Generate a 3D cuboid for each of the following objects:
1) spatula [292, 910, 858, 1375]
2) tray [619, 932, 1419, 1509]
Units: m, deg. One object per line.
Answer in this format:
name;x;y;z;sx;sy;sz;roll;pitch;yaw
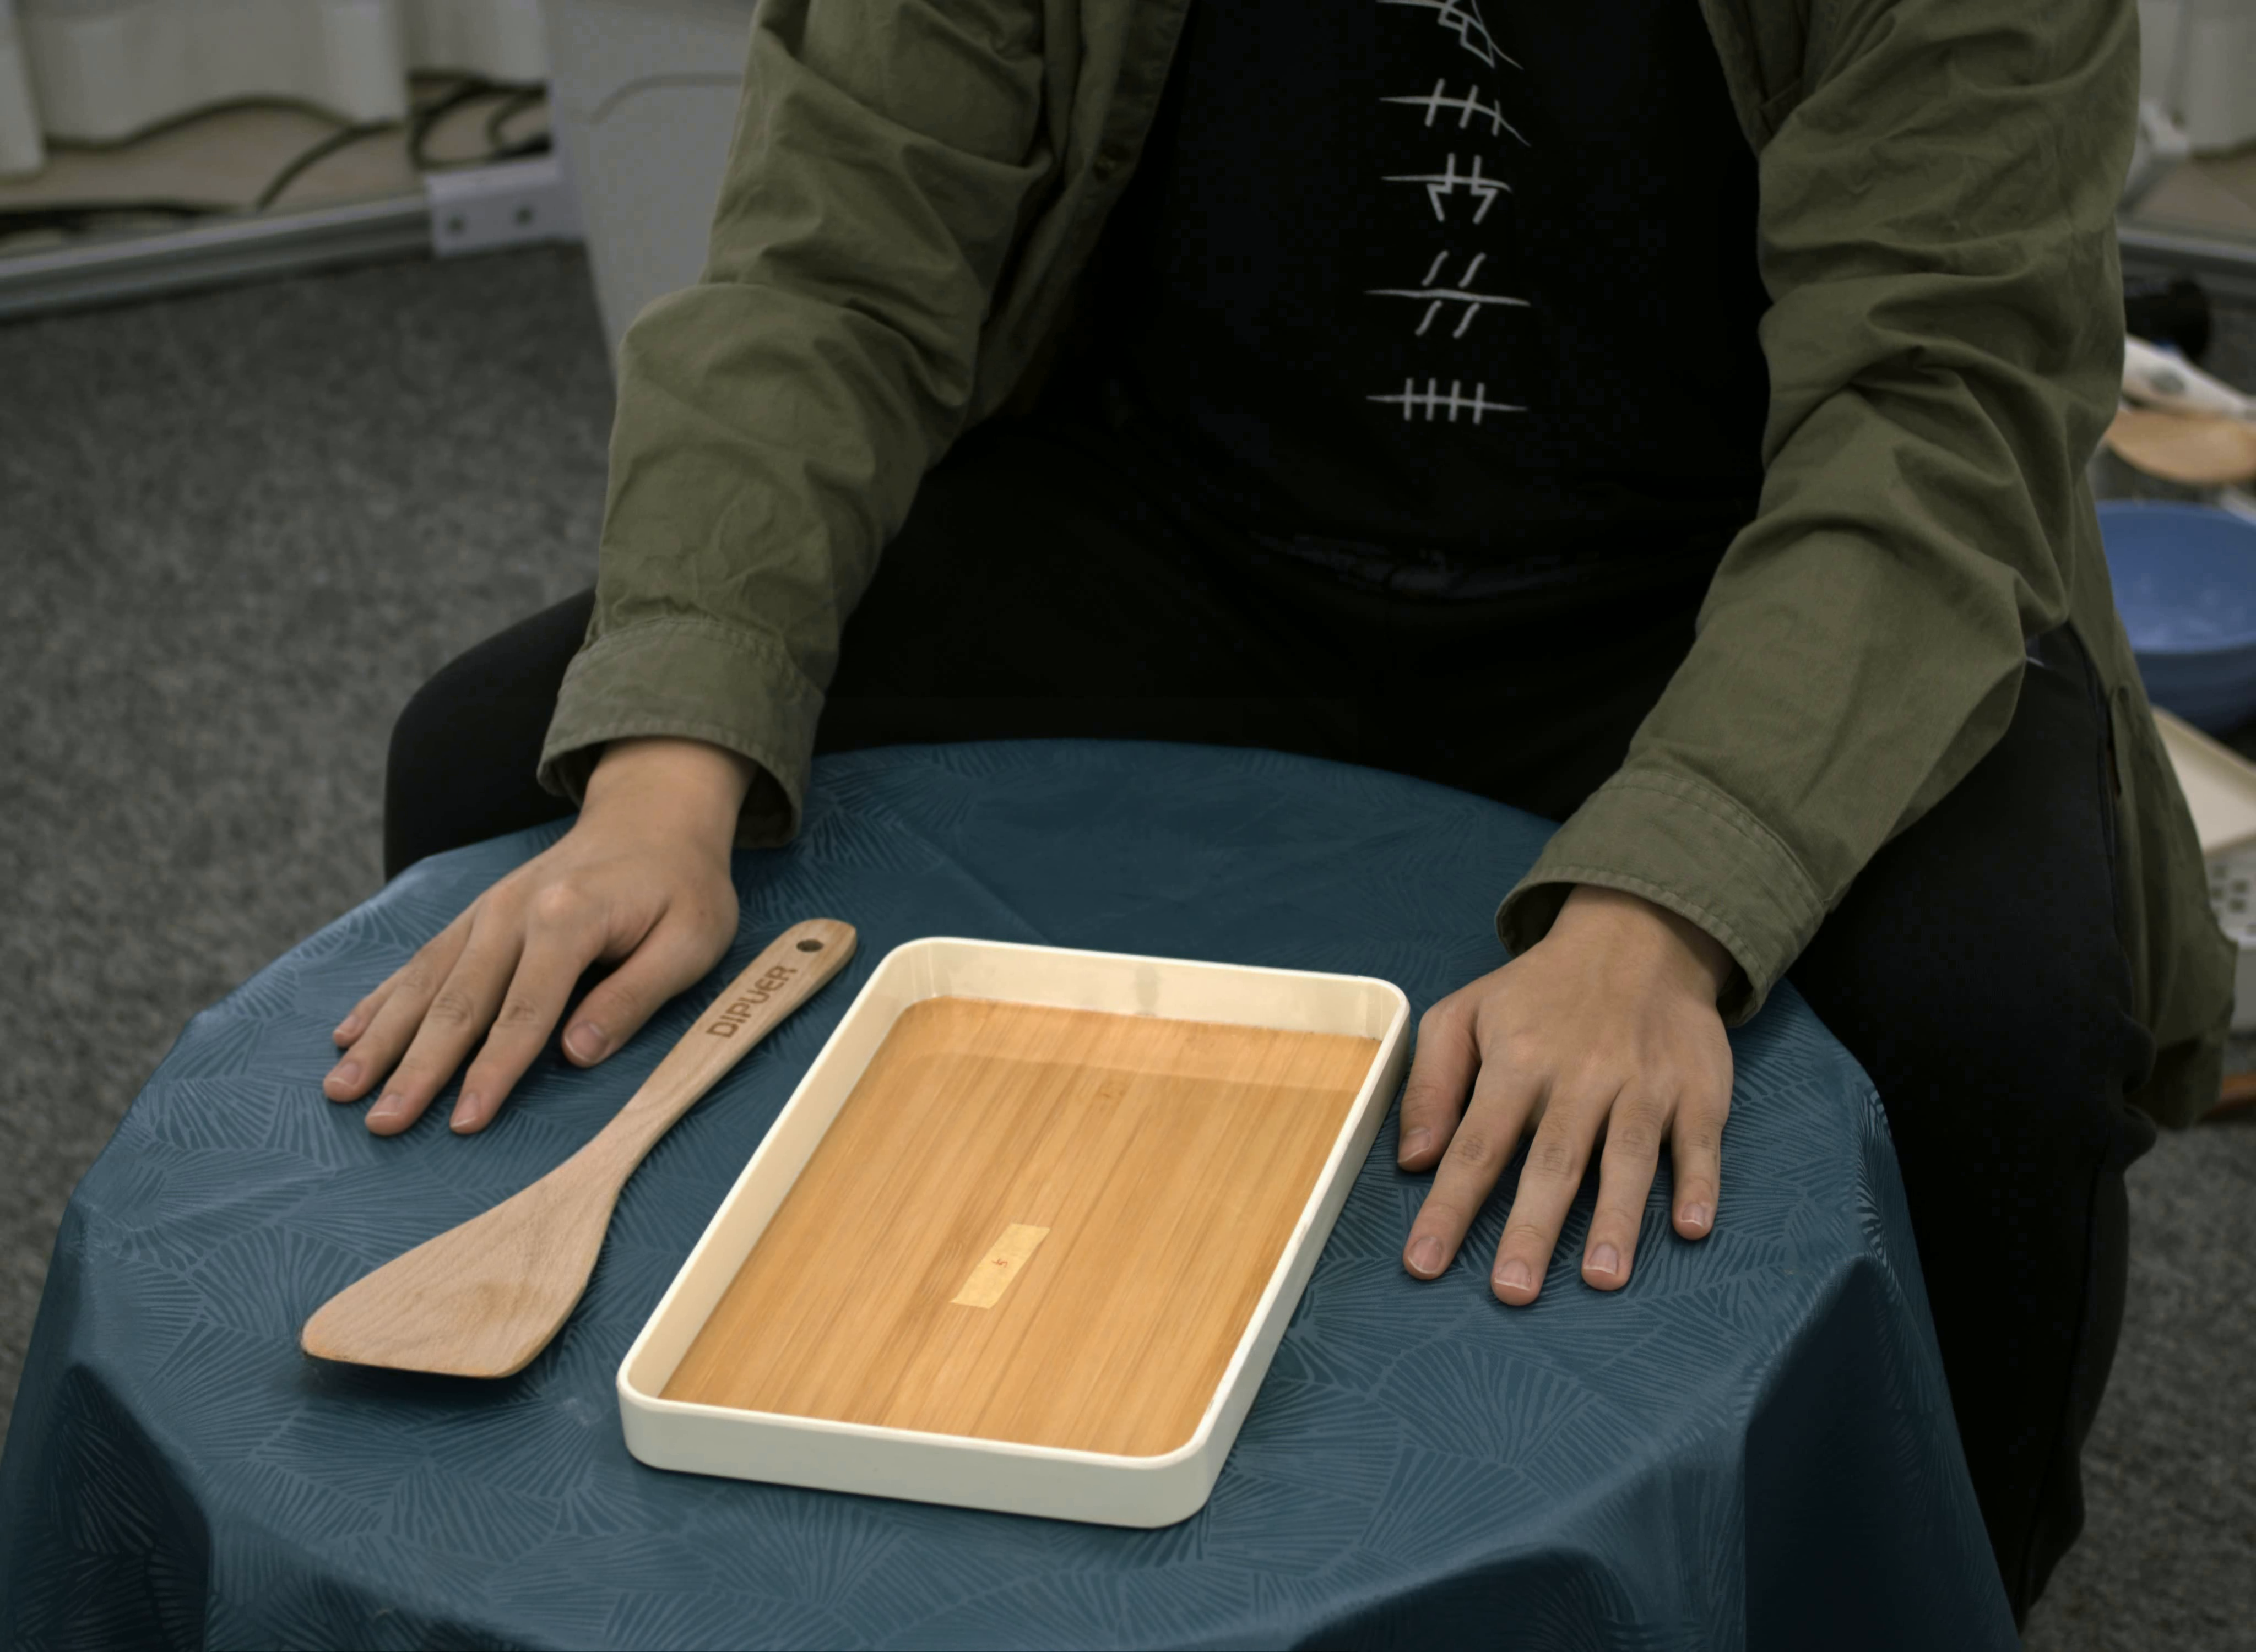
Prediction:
spatula;-0.168;0.103;1.892;0.079;0.016;0.333;9;30;21
tray;-0.029;0.122;1.827;0.190;0.027;0.305;6;27;16
